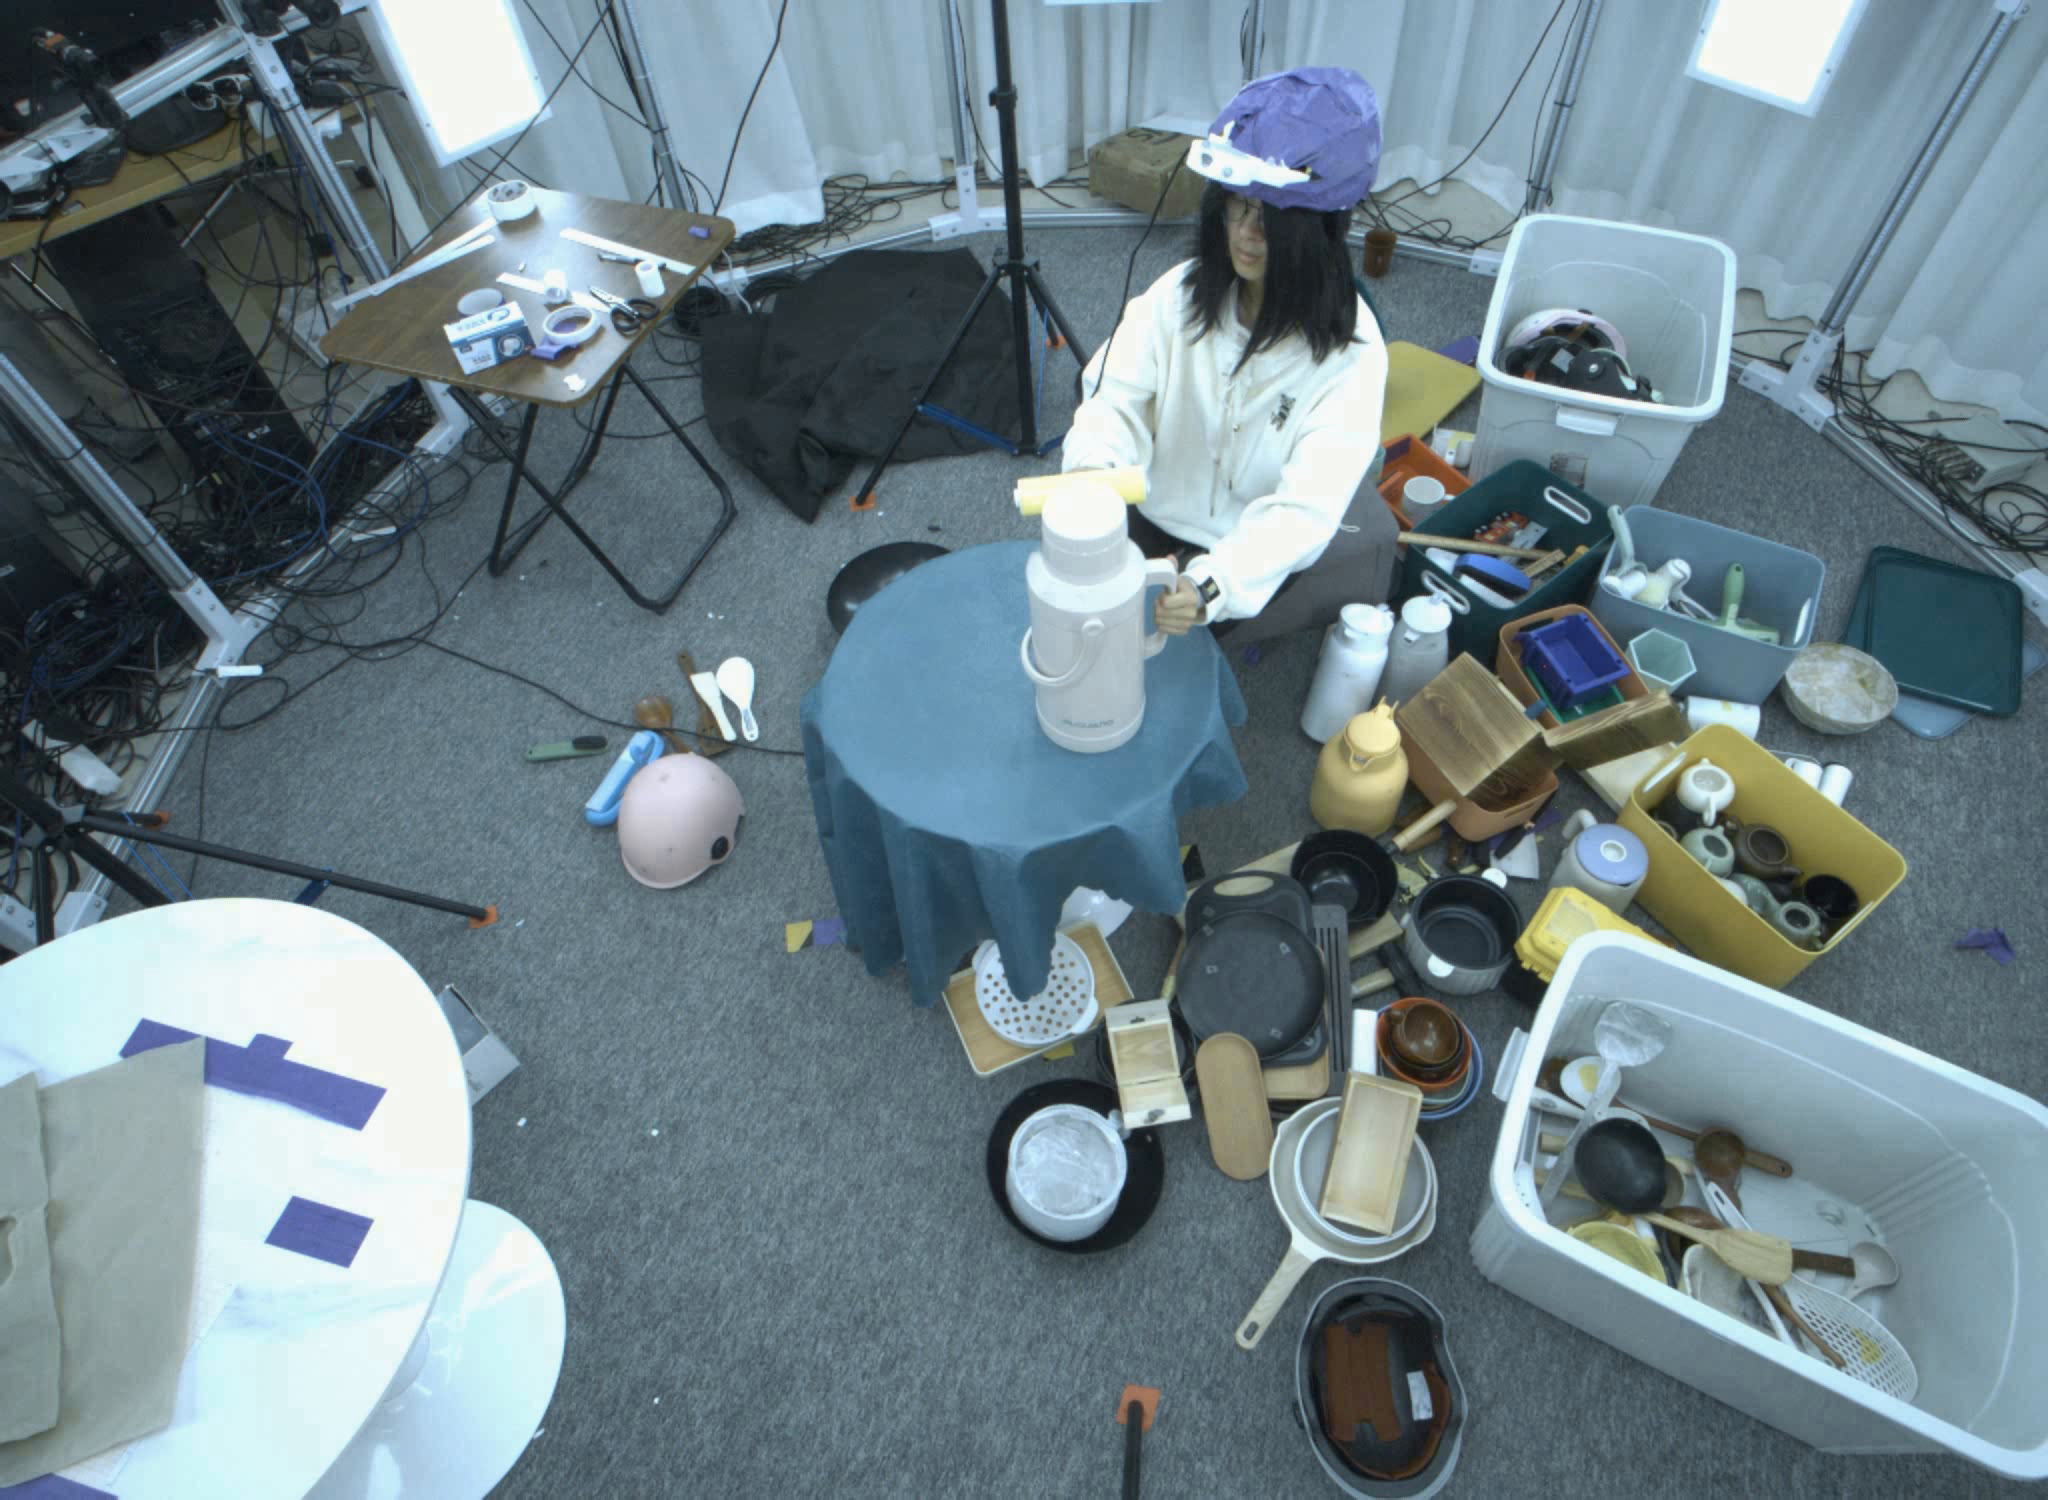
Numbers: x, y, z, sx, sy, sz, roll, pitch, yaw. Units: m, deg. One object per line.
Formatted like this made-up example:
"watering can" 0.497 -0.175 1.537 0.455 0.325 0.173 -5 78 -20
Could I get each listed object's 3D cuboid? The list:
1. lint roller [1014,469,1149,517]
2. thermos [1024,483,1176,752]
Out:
"lint roller" 0.073 -0.360 1.640 0.174 0.052 0.190 -6 26 2
"thermos" 0.099 -0.175 1.664 0.207 0.411 0.173 -6 54 0
